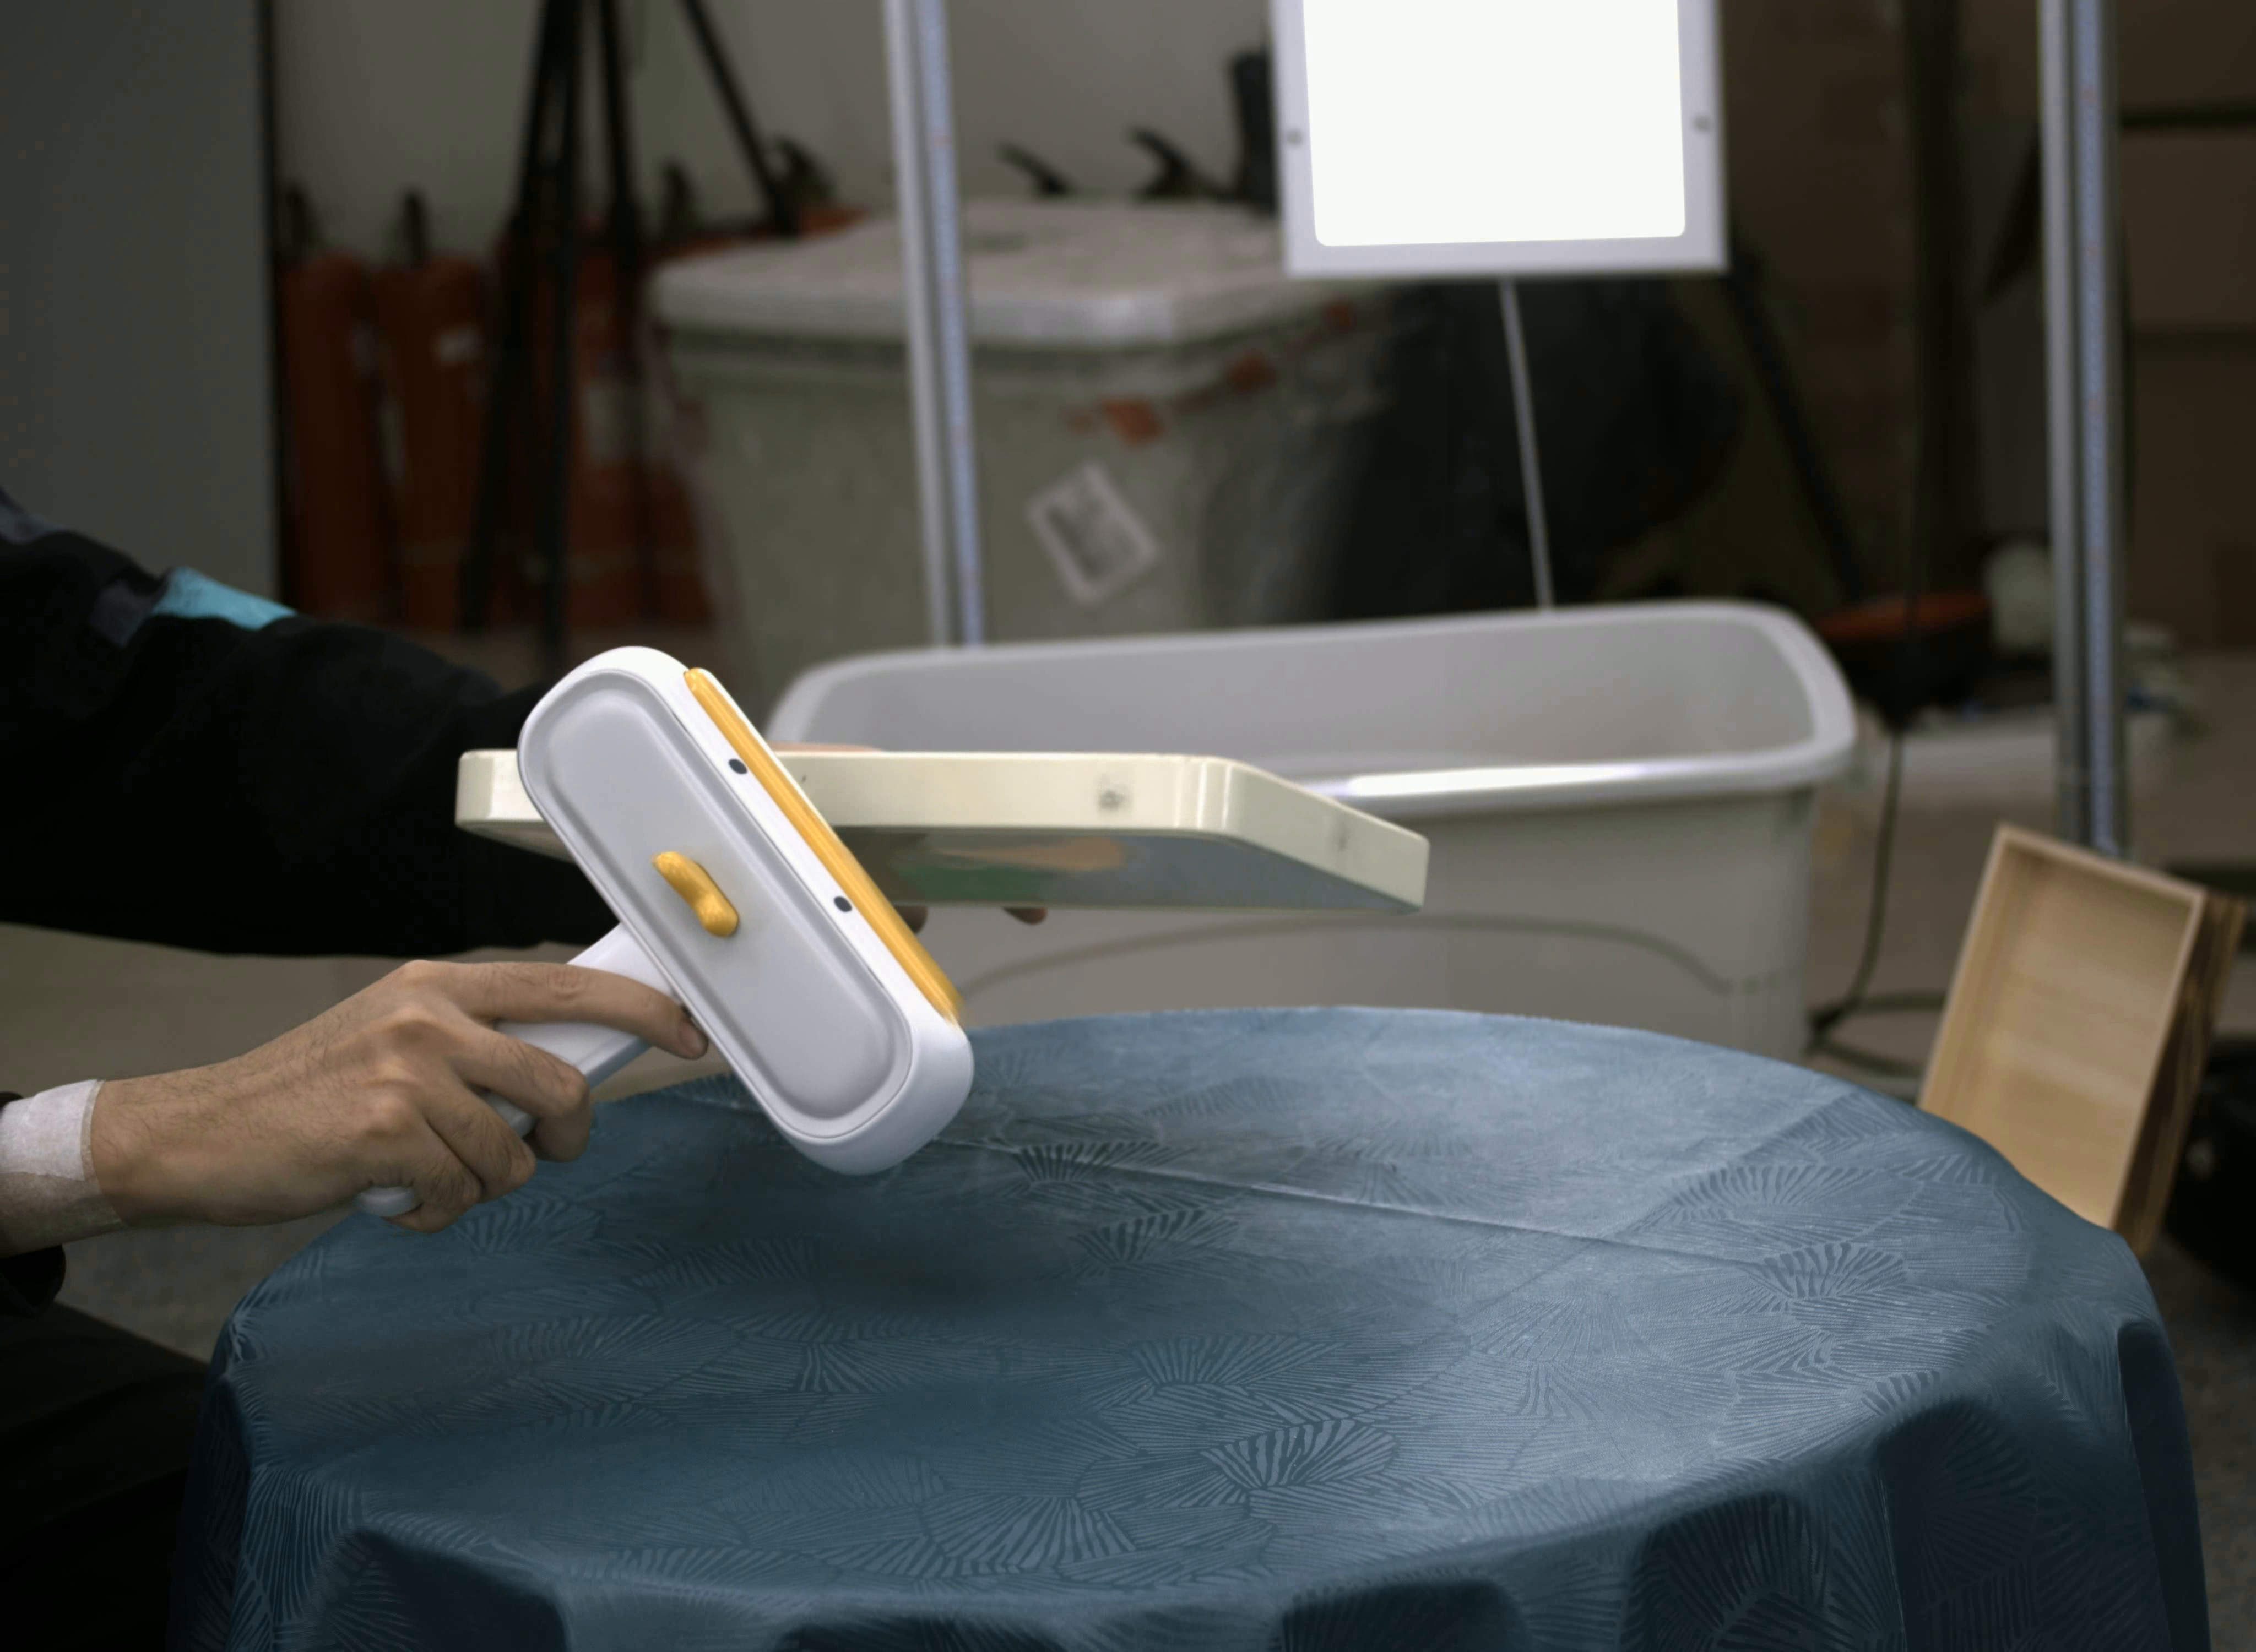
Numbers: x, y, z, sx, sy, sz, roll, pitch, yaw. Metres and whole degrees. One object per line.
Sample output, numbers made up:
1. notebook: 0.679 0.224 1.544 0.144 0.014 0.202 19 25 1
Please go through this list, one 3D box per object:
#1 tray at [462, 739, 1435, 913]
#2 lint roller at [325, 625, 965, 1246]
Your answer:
1. tray: -0.062 0.002 1.911 0.305 0.027 0.188 0 -11 28
2. lint roller: -0.172 0.059 1.751 0.193 0.194 0.073 -43 -11 4
